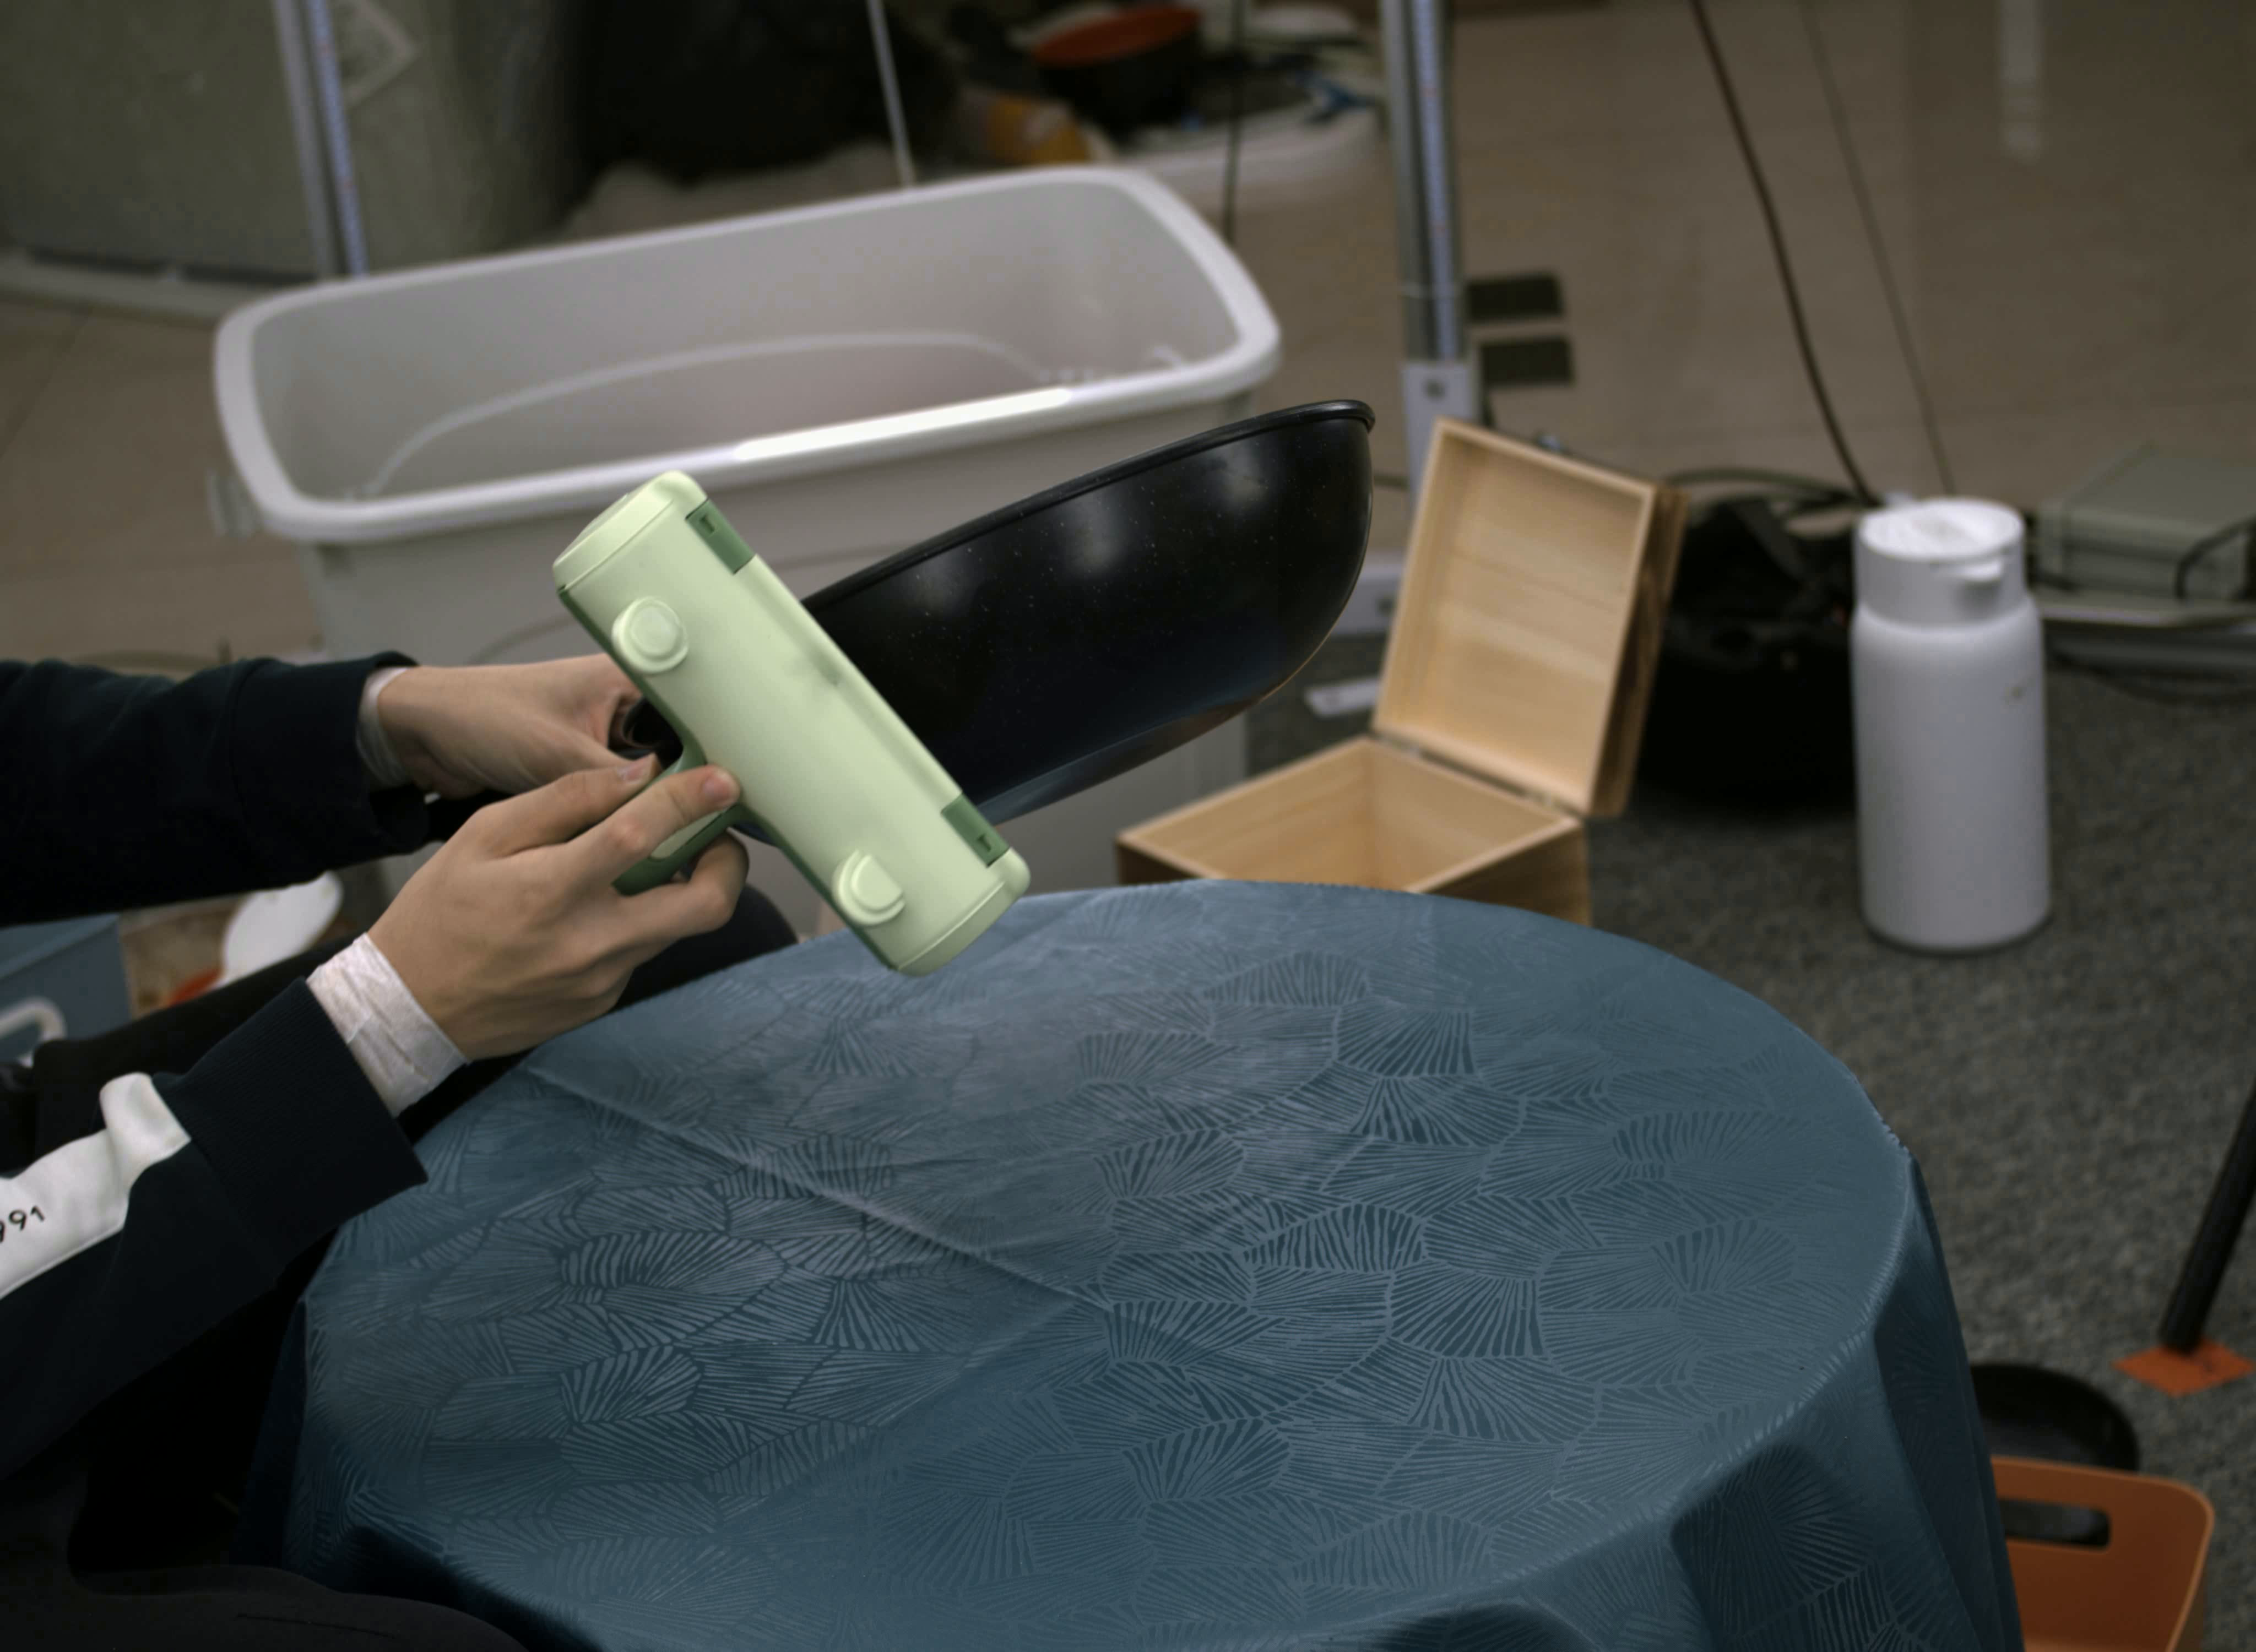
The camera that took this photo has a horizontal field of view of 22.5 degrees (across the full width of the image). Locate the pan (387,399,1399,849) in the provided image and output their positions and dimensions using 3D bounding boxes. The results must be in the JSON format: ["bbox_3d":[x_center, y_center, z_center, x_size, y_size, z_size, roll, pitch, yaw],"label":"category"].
[{"bbox_3d":[-0.096,-0.039,2.170,0.479,0.111,0.309,-25,-6,32],"label":"pan"}]

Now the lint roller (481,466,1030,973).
[{"bbox_3d":[-0.162,0.000,1.986,0.184,0.200,0.081,-38,11,14],"label":"lint roller"}]
